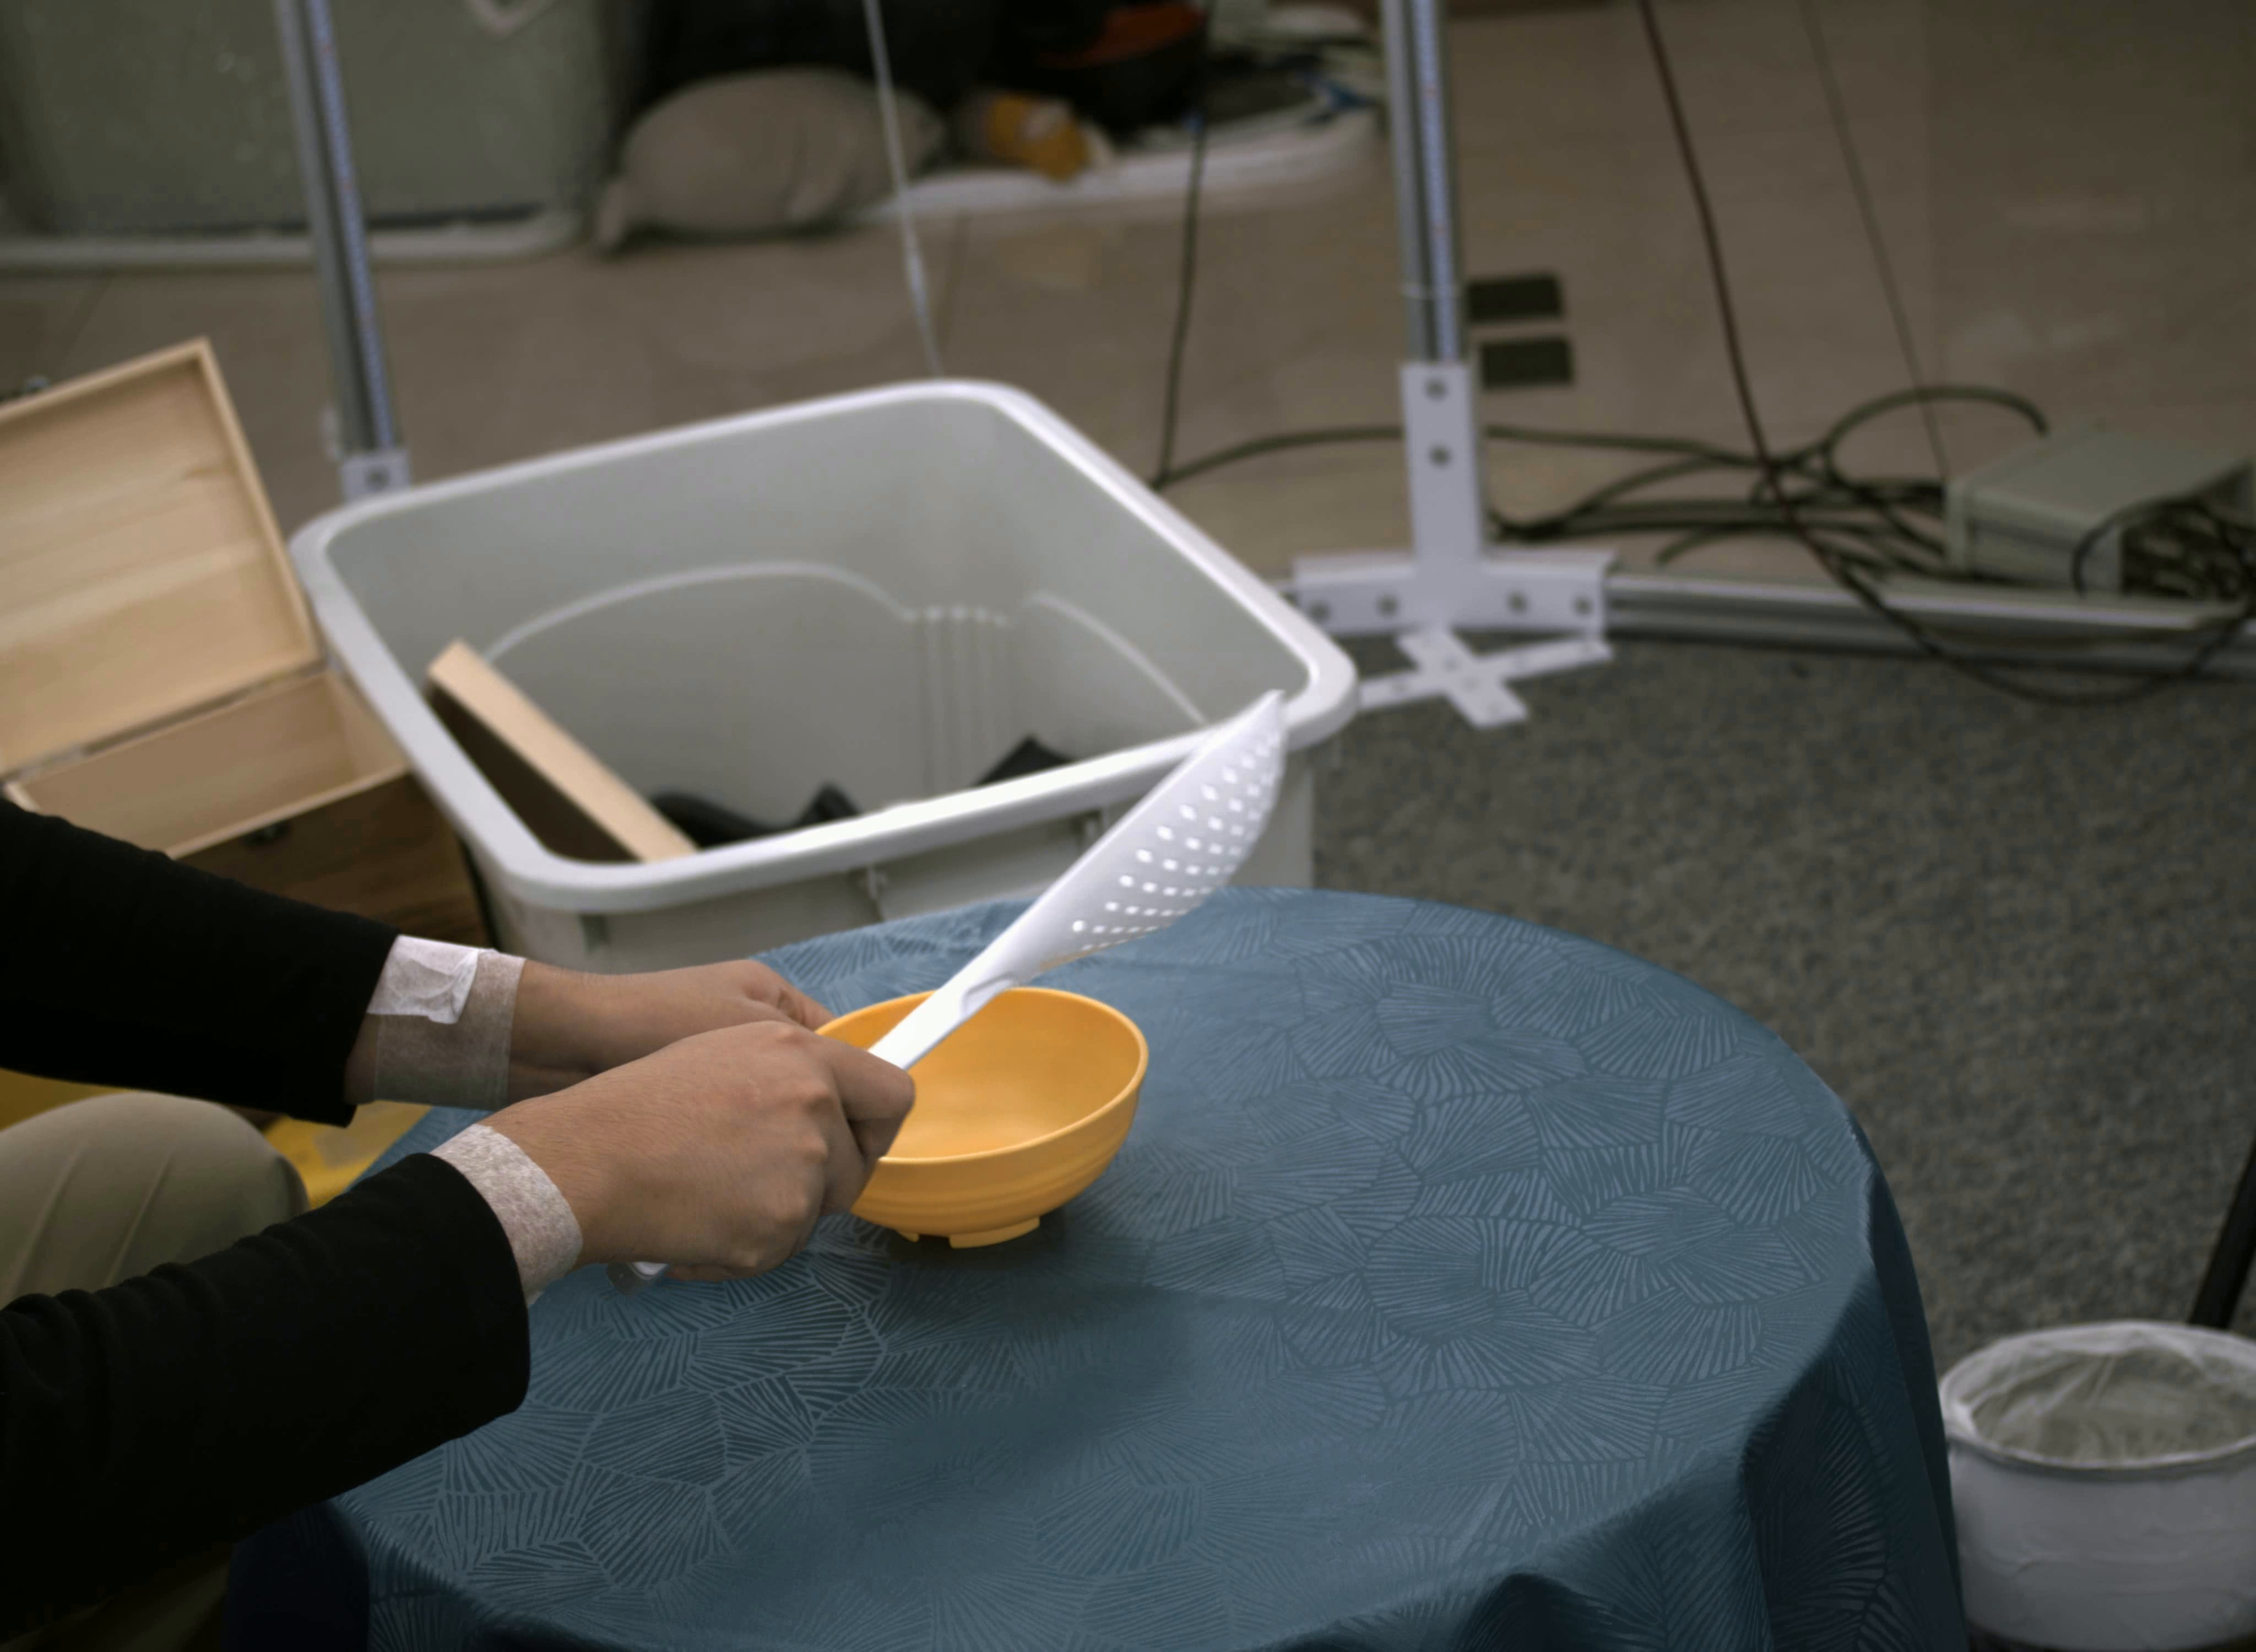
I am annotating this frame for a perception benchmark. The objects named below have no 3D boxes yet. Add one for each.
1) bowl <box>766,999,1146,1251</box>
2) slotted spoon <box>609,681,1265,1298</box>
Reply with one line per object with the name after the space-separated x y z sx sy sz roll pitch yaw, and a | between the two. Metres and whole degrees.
-0.063 0.120 2.137 0.145 0.061 0.143 -4 23 2 | bowl
-0.062 0.058 2.011 0.346 0.138 0.045 -36 82 -34 | slotted spoon
